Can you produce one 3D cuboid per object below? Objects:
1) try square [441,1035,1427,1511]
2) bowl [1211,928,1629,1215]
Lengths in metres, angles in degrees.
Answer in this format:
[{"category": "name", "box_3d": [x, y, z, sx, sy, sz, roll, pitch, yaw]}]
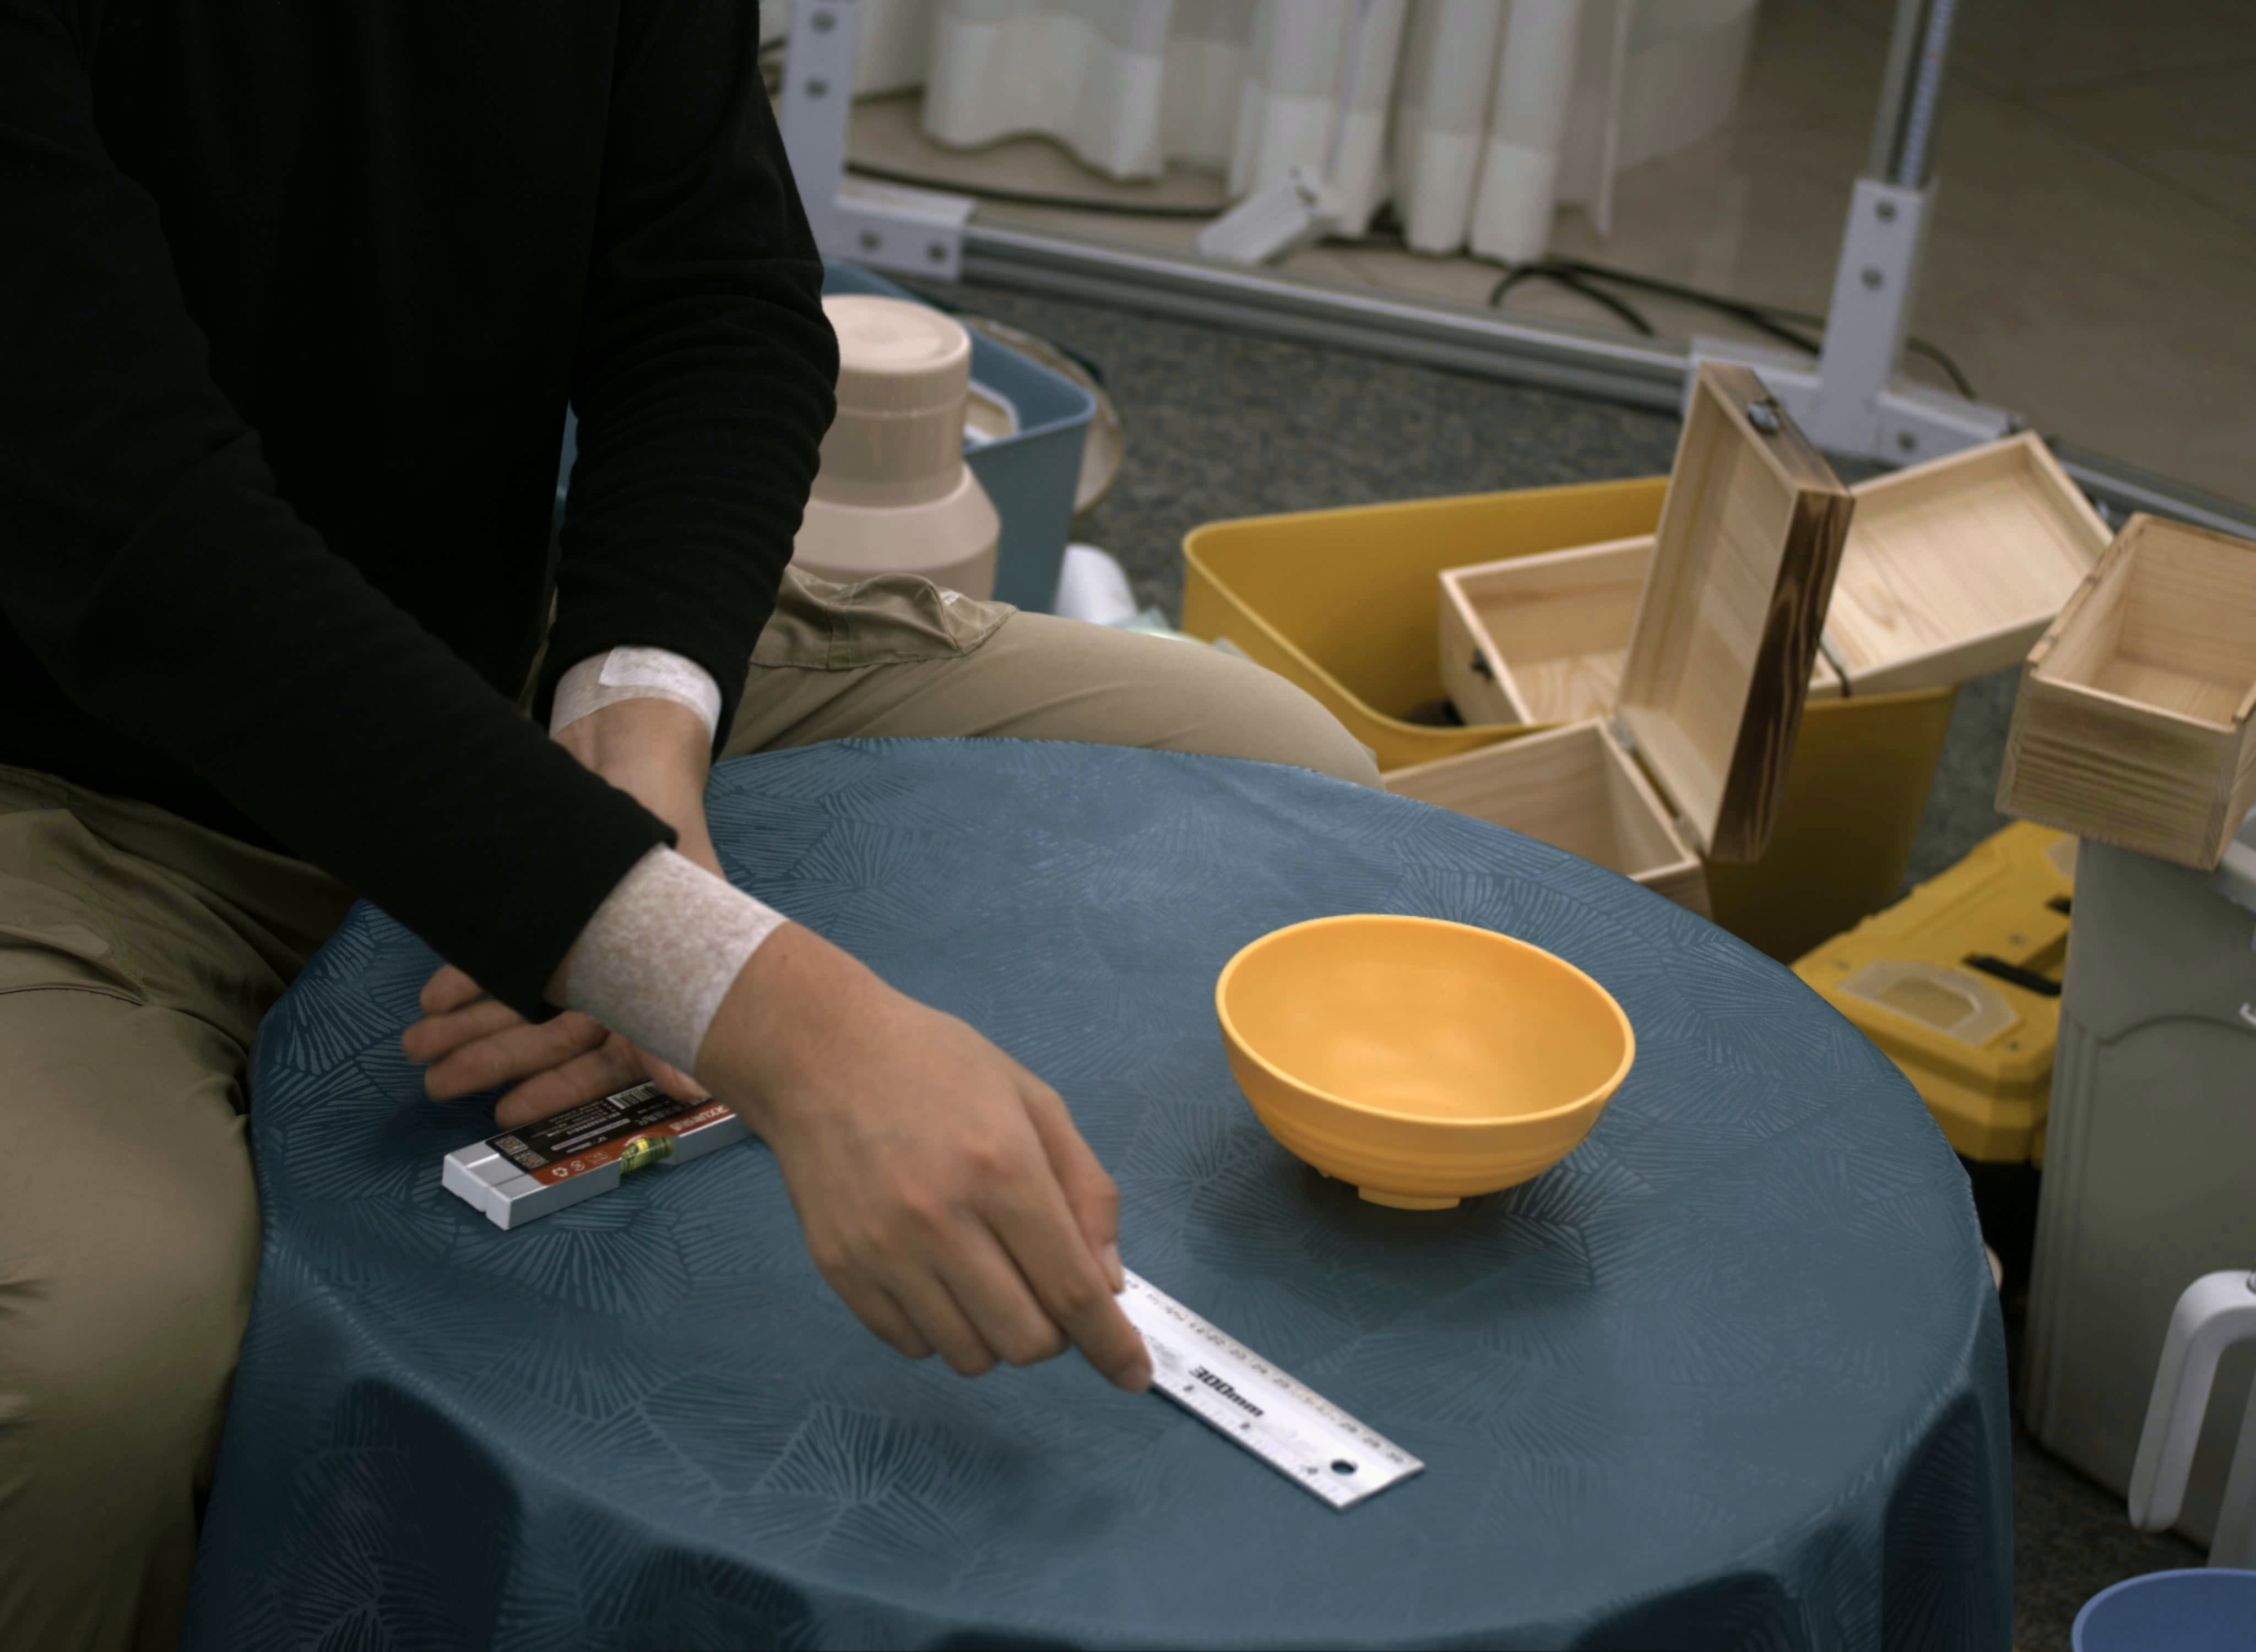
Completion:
[{"category": "try square", "box_3d": [-0.067, 0.158, 1.715, 0.151, 0.016, 0.315, -21, 39, -39]}, {"category": "bowl", "box_3d": [0.096, 0.092, 1.825, 0.145, 0.060, 0.146, 5, 24, -3]}]
